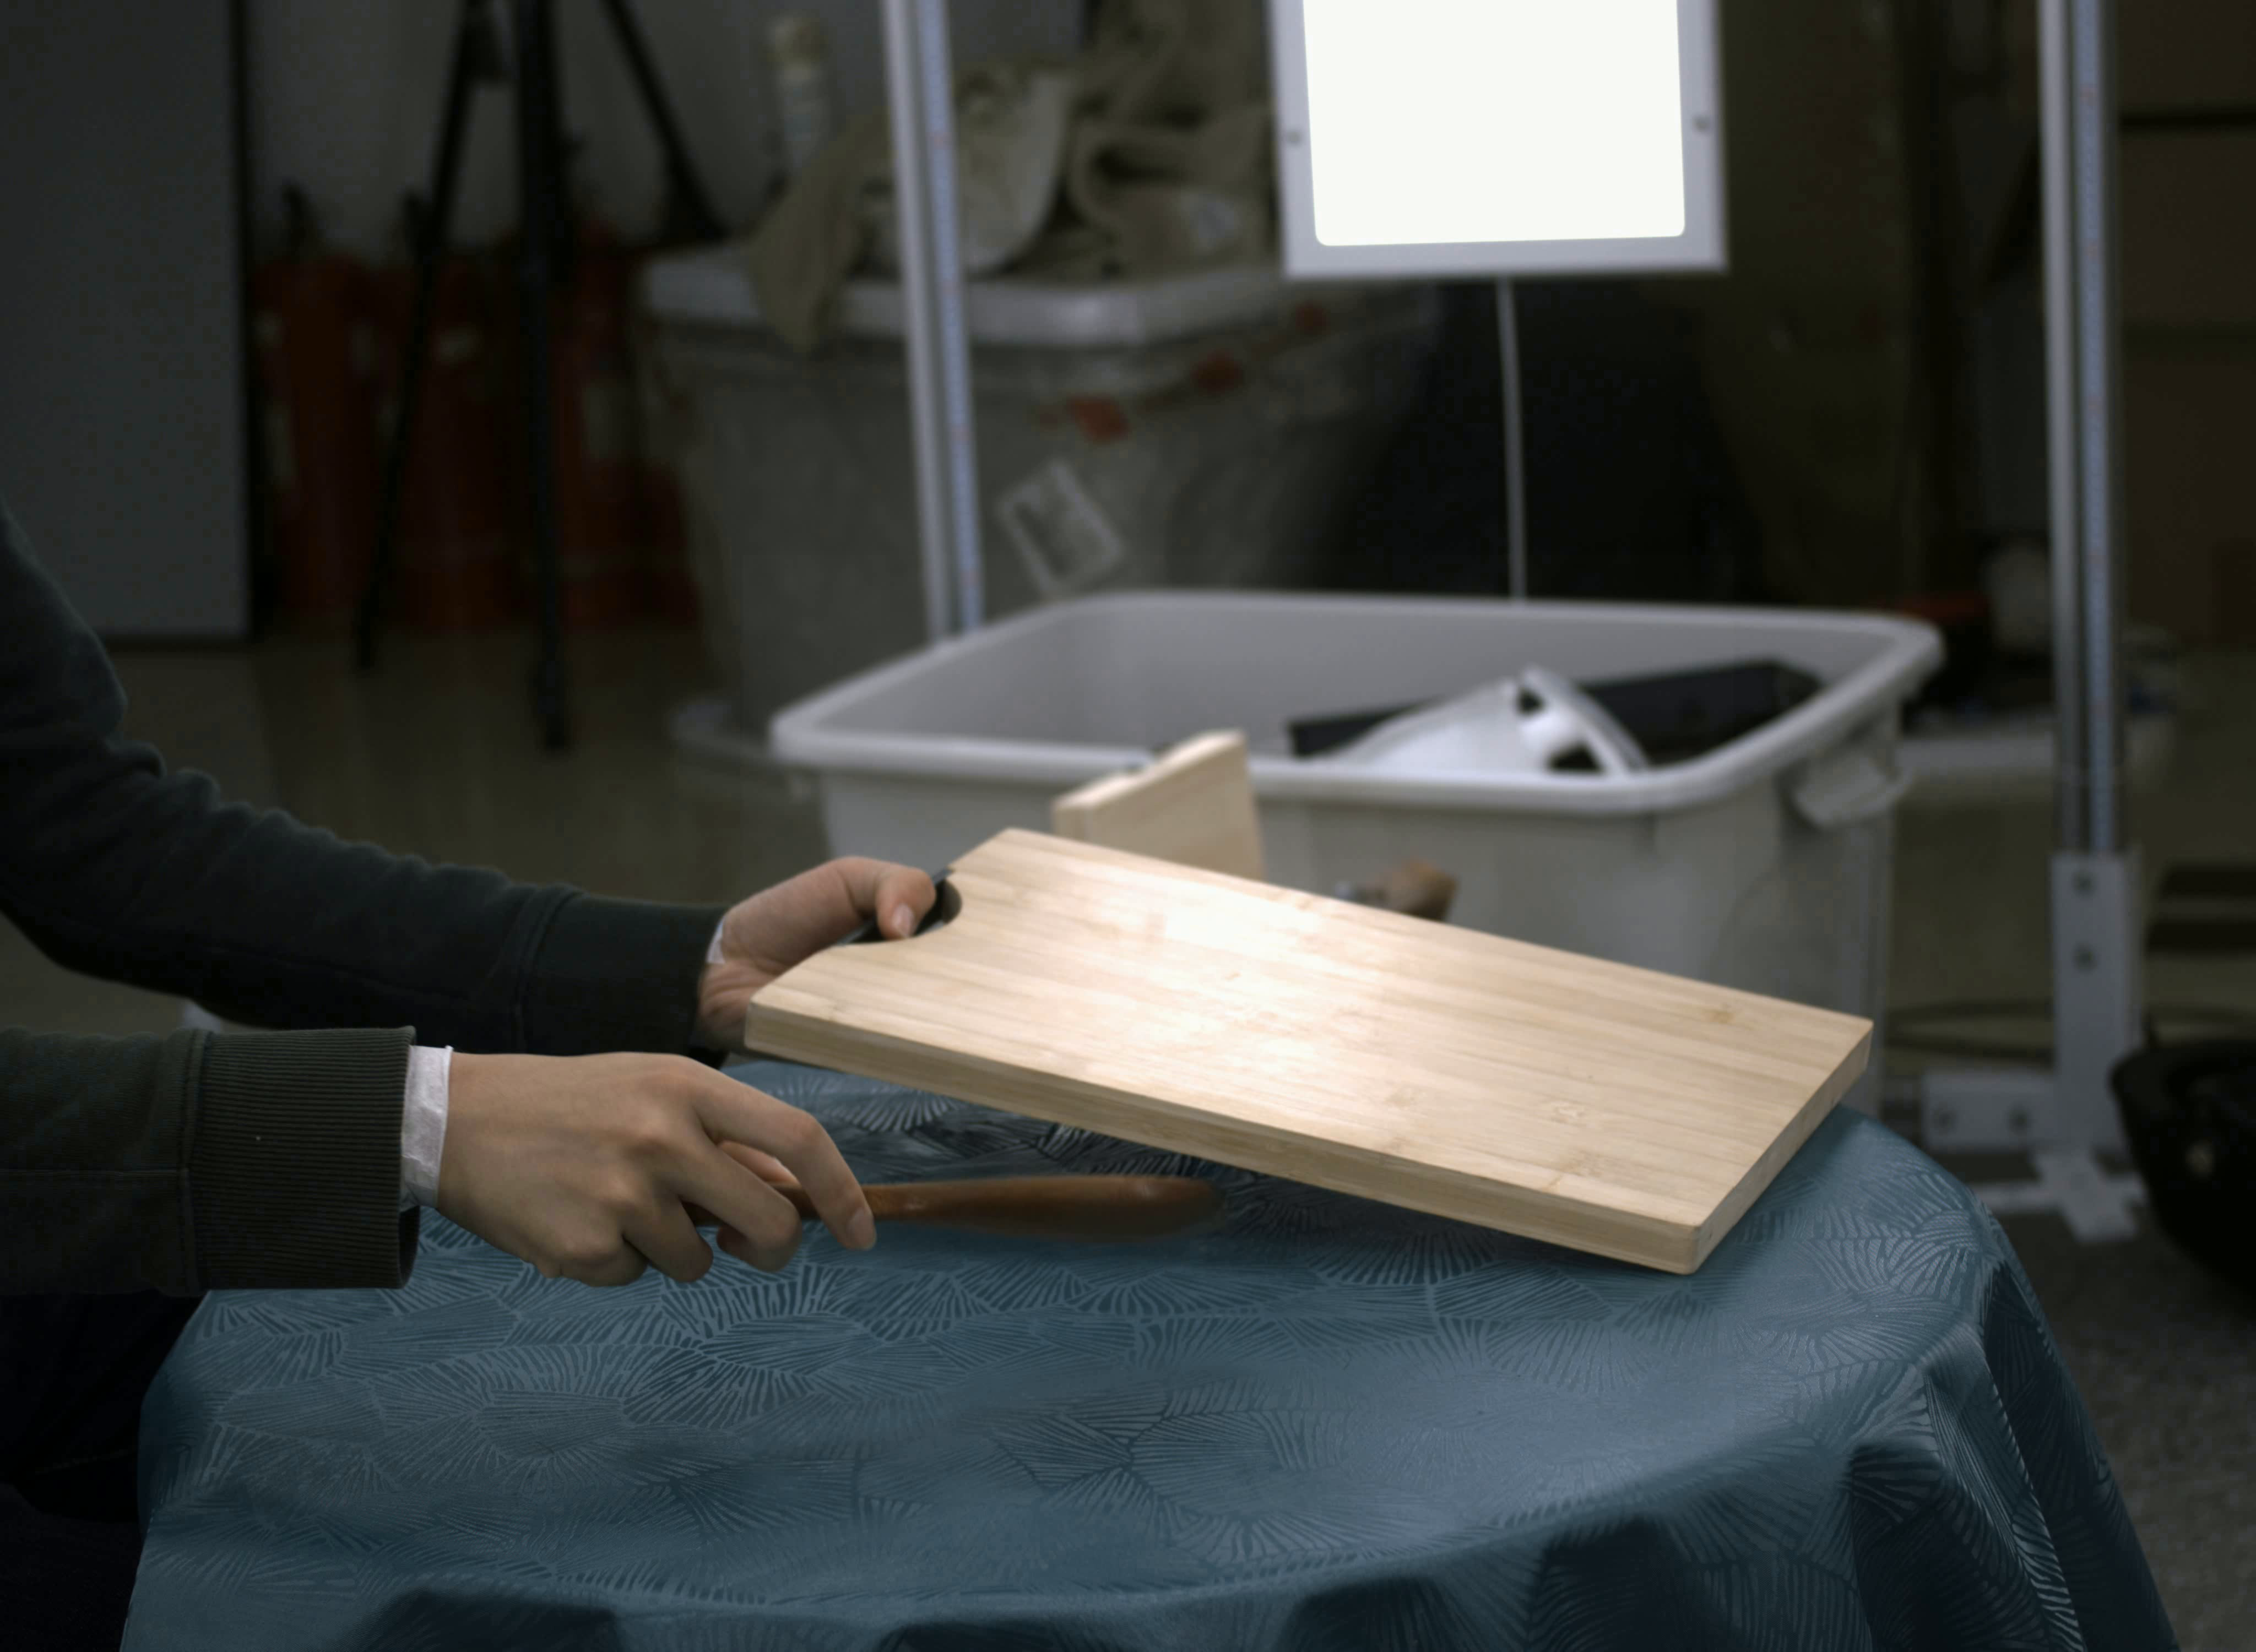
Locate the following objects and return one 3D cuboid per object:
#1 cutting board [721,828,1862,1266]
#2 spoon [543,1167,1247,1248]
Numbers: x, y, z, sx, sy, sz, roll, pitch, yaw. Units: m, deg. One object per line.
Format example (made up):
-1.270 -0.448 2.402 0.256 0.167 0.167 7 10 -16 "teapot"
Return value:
0.062 0.072 1.925 0.353 0.024 0.246 12 18 19 "cutting board"
-0.071 0.116 1.673 0.216 0.017 0.075 2 -6 8 "spoon"
